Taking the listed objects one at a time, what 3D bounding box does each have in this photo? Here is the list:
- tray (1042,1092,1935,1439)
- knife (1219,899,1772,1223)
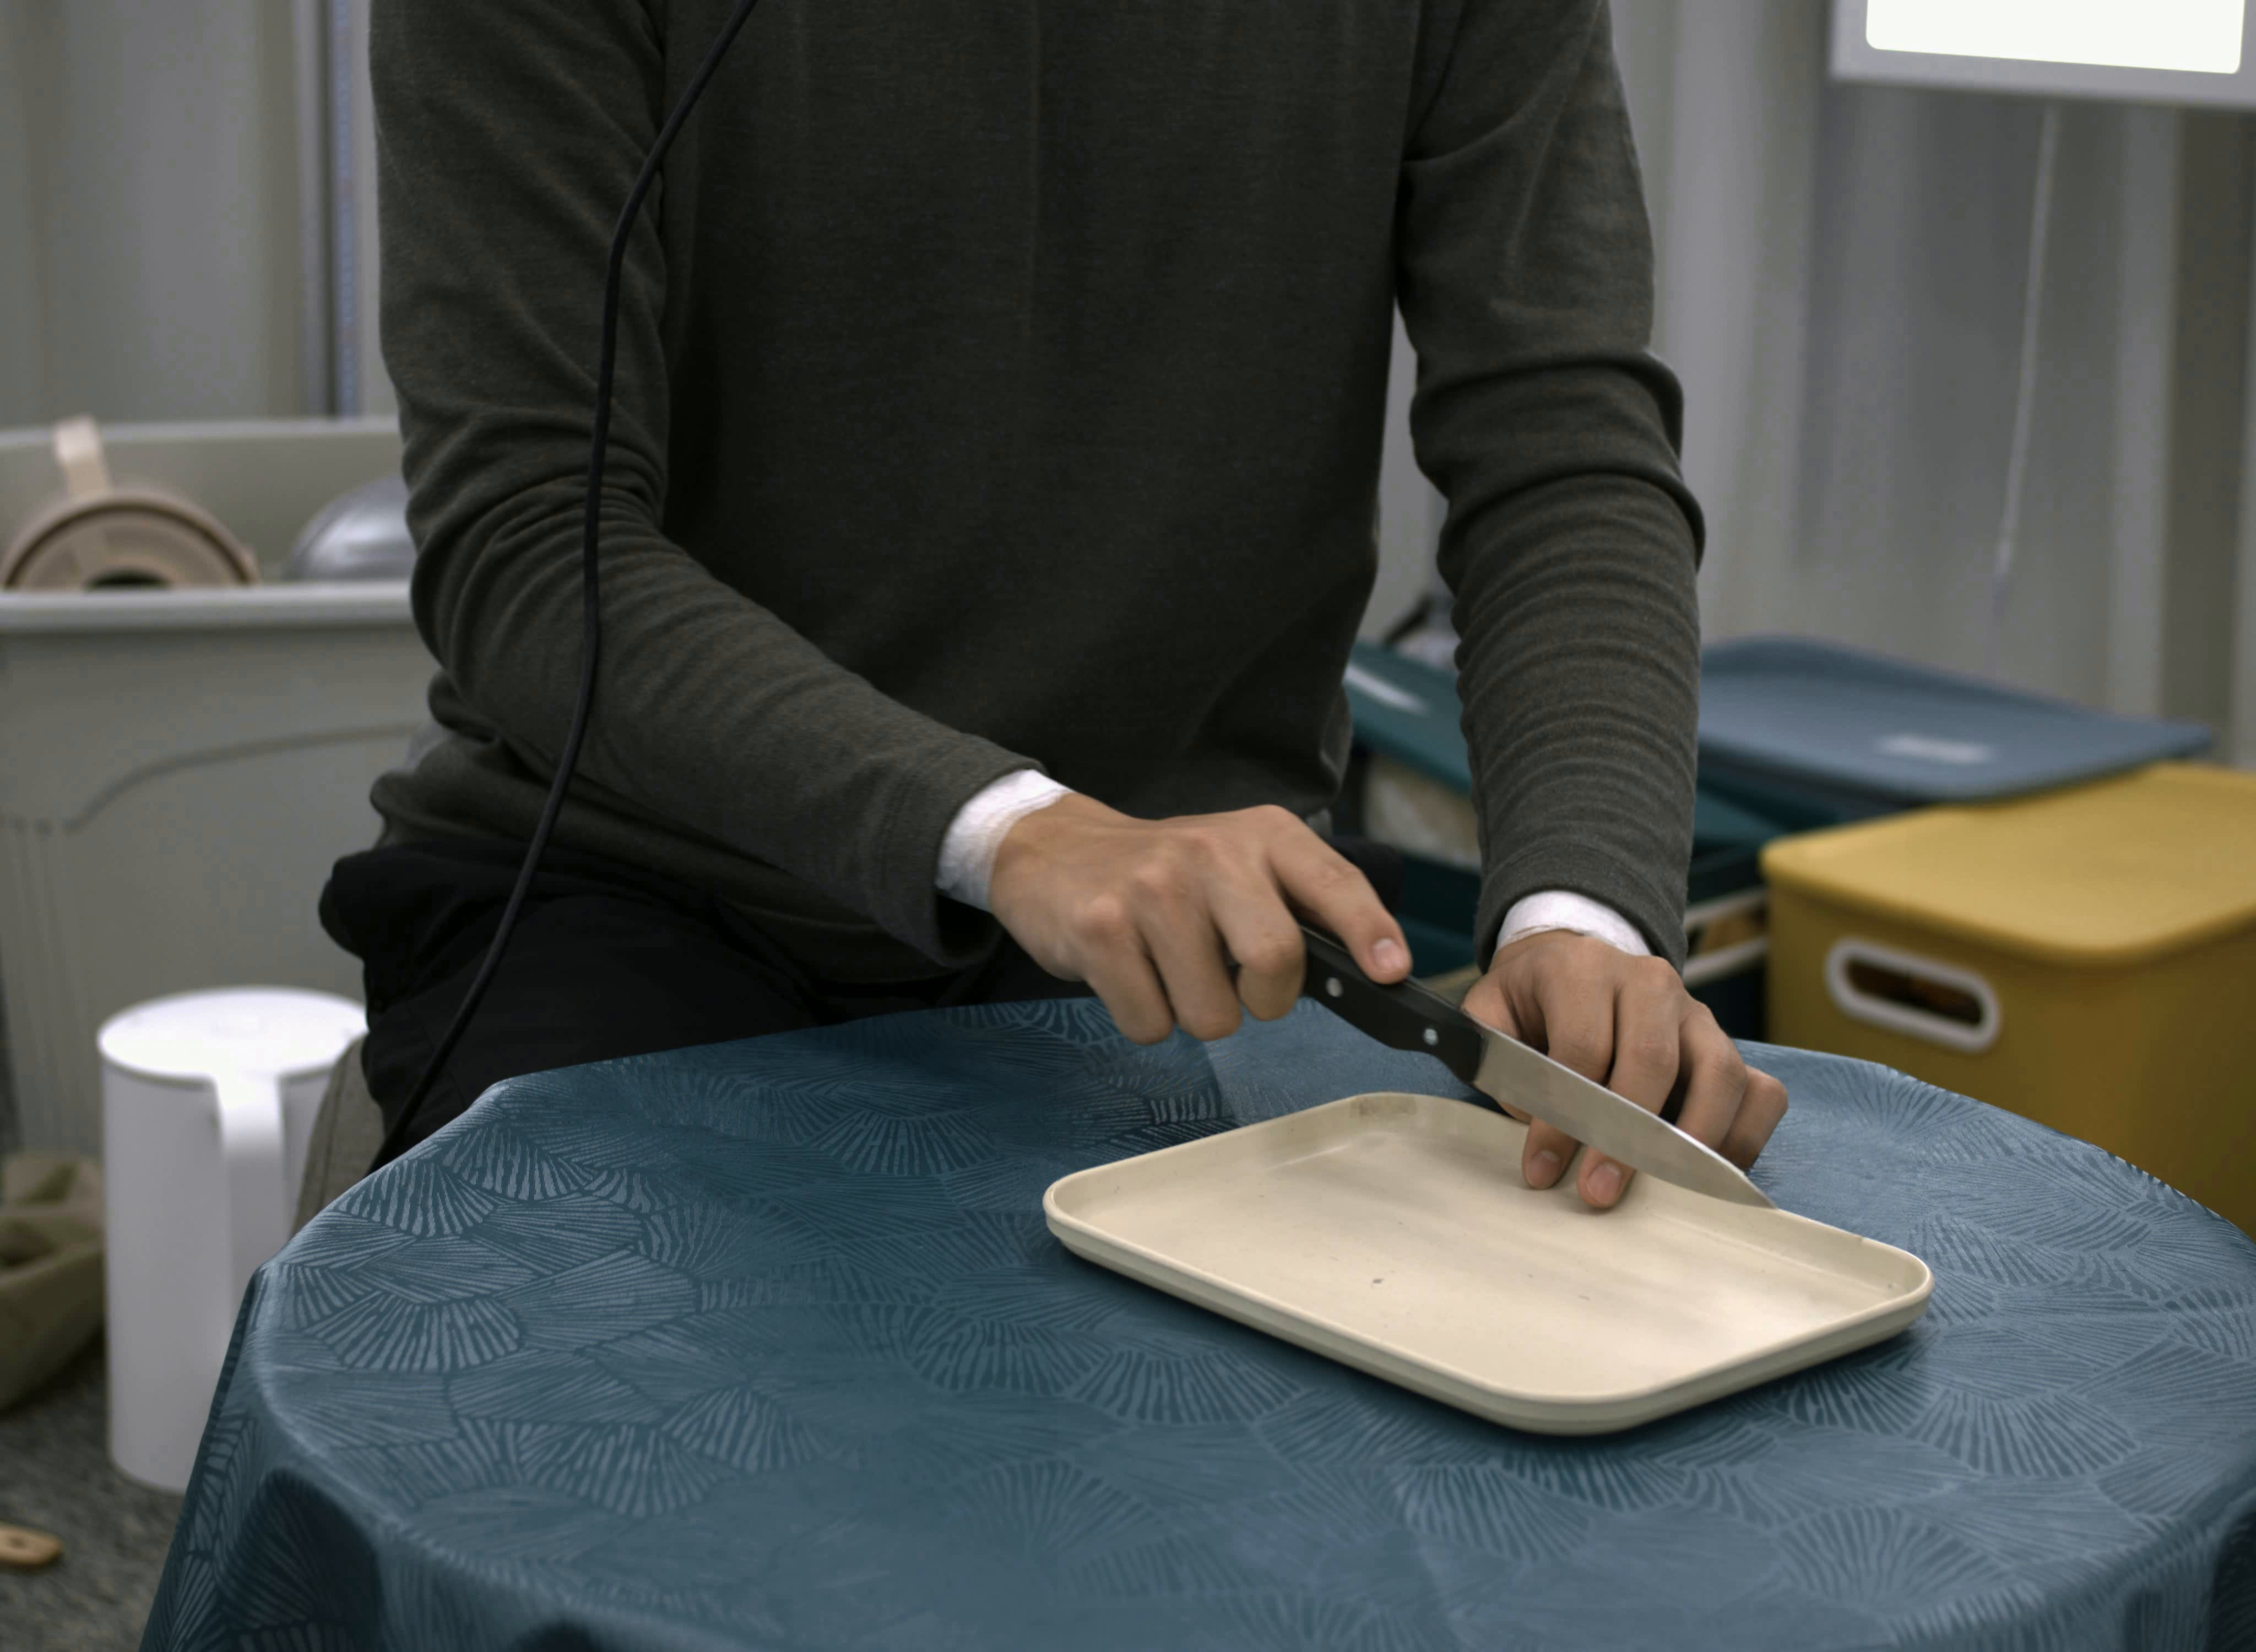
[{"bbox_3d":[0.103,0.127,1.544,0.172,0.017,0.236,-13,20,-39],"label":"tray"},{"bbox_3d":[0.108,0.069,1.581,0.016,0.025,0.235,-21,34,-35],"label":"knife"}]
